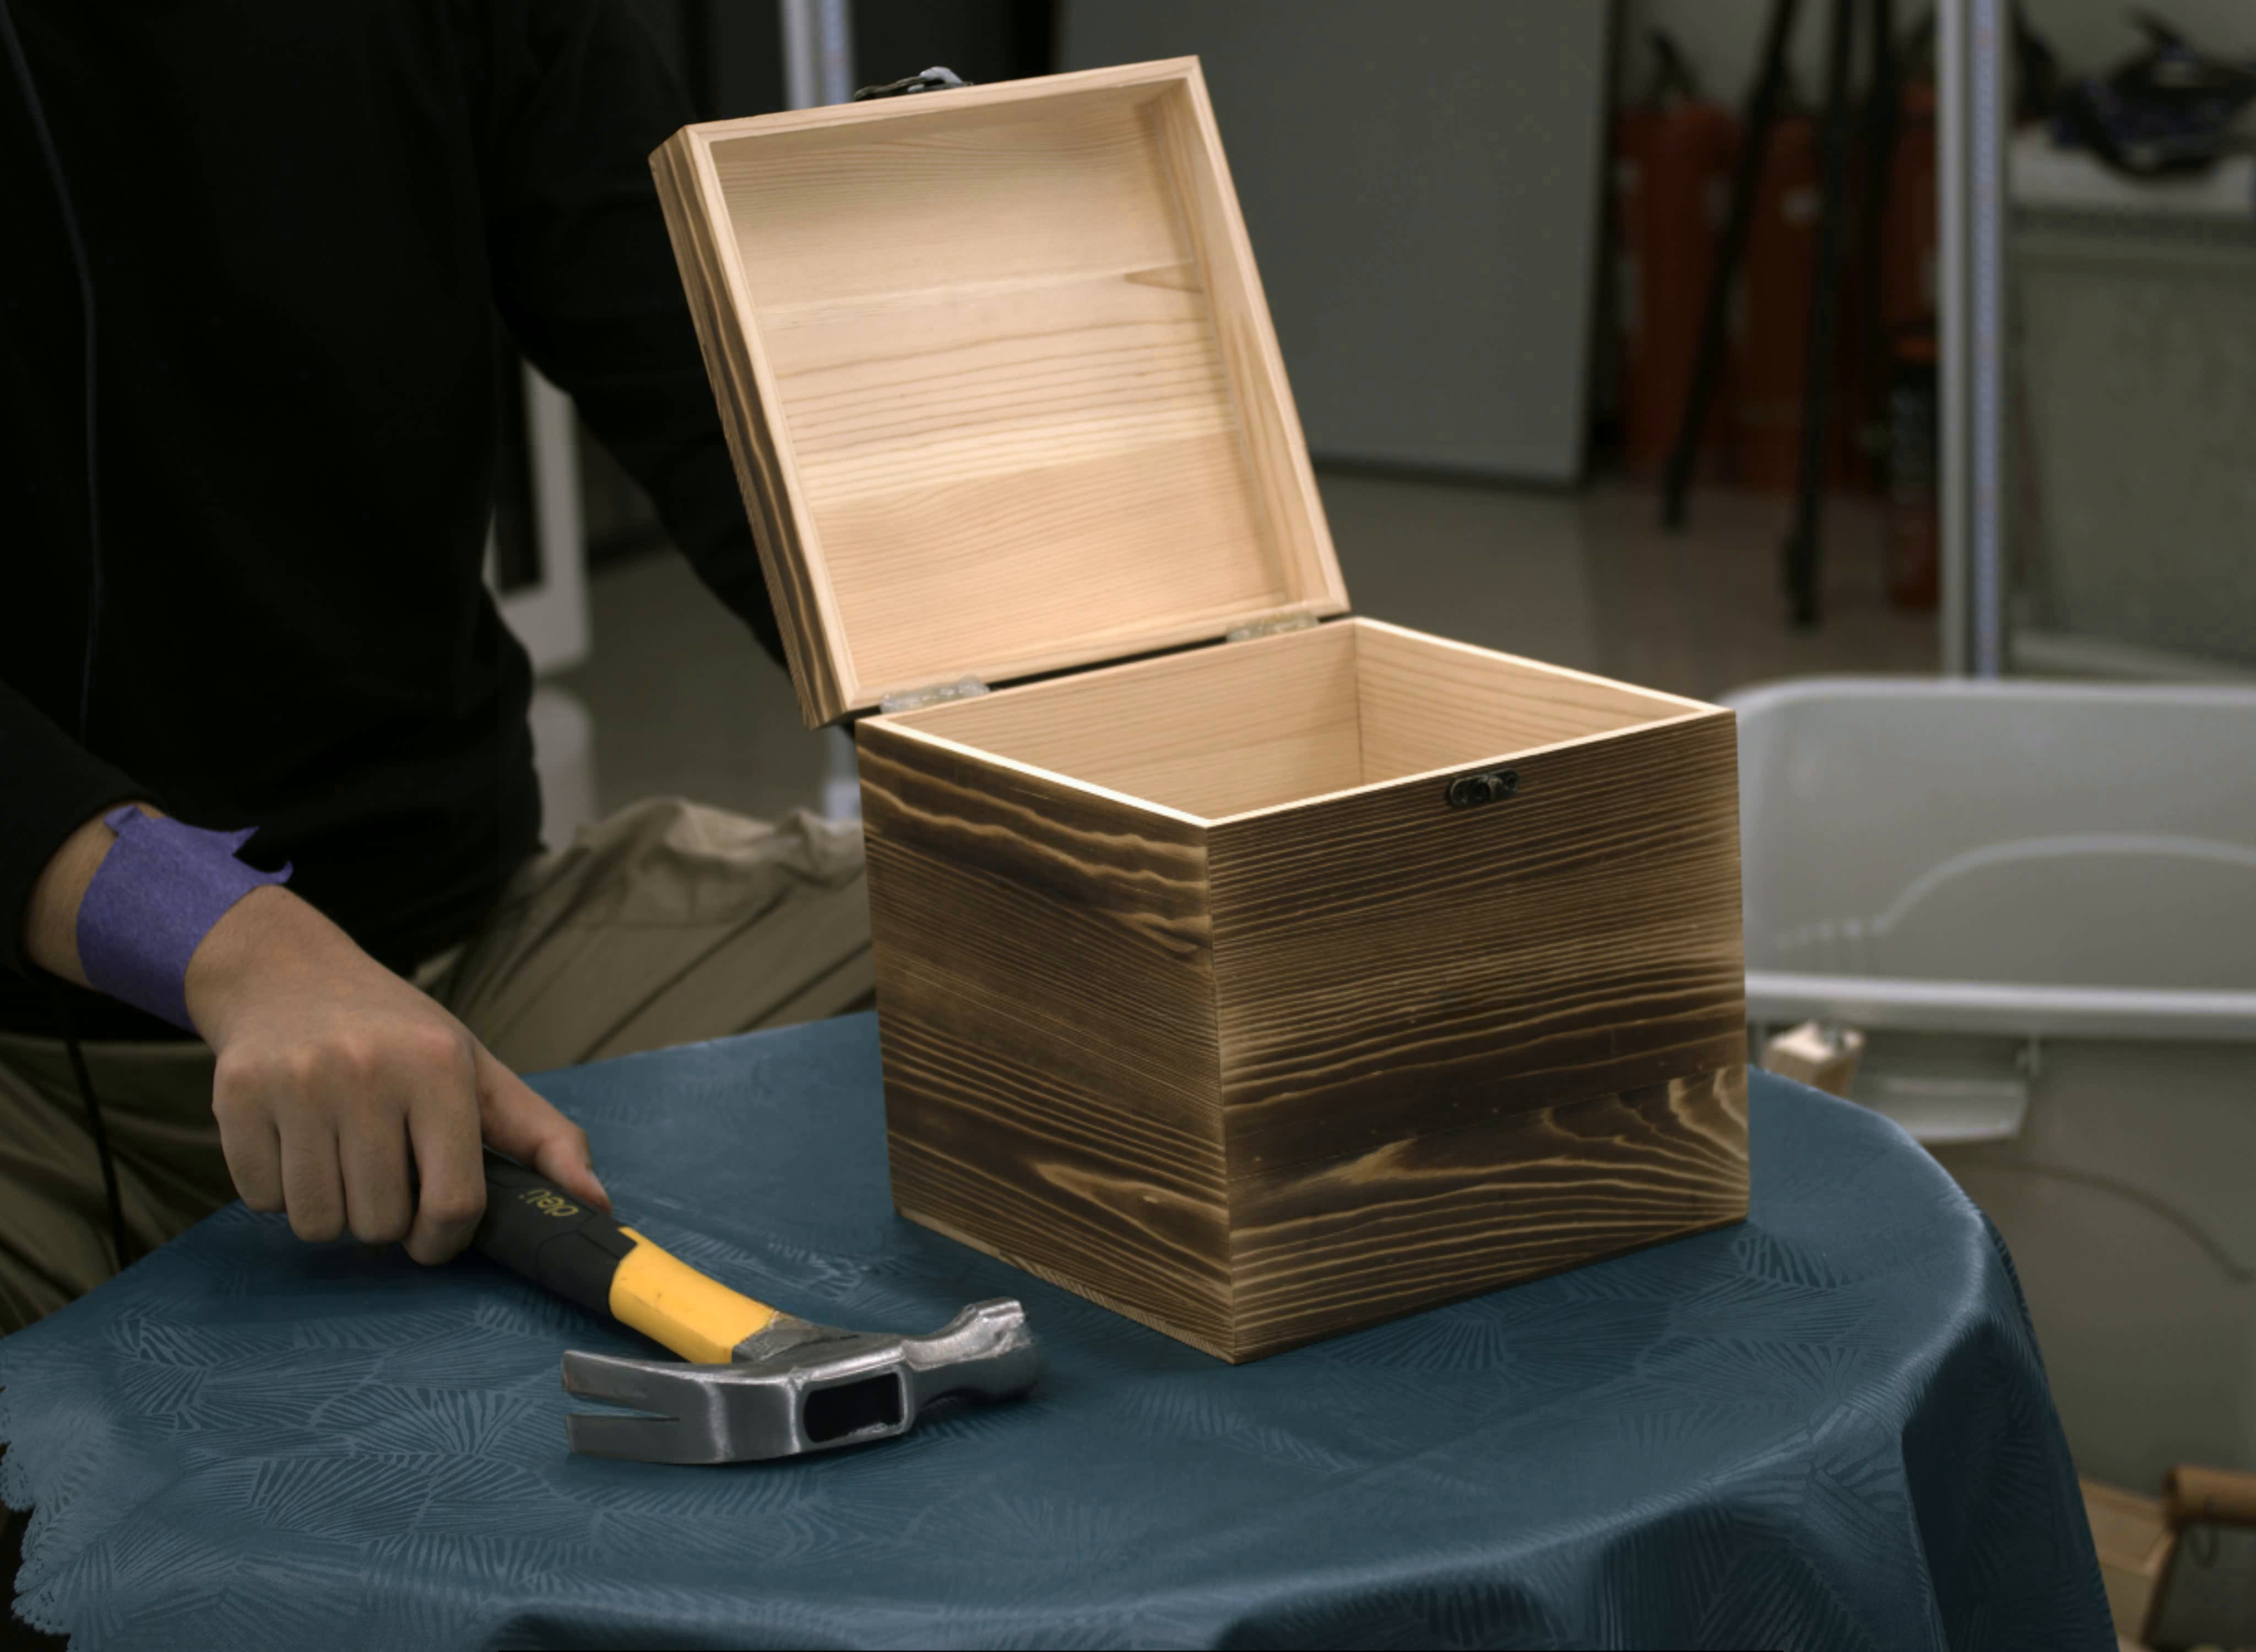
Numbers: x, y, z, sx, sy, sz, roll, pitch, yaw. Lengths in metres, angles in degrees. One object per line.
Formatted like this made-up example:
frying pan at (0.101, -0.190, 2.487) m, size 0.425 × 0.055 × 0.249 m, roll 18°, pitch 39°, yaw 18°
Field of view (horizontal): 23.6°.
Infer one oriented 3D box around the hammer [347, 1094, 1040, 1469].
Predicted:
hammer at (-0.164, 0.135, 1.692) m, size 0.128 × 0.032 × 0.342 m, roll -11°, pitch 17°, yaw -28°

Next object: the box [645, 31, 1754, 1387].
box at (0.019, -0.056, 1.736) m, size 0.204 × 0.379 × 0.325 m, roll -13°, pitch 15°, yaw -30°
